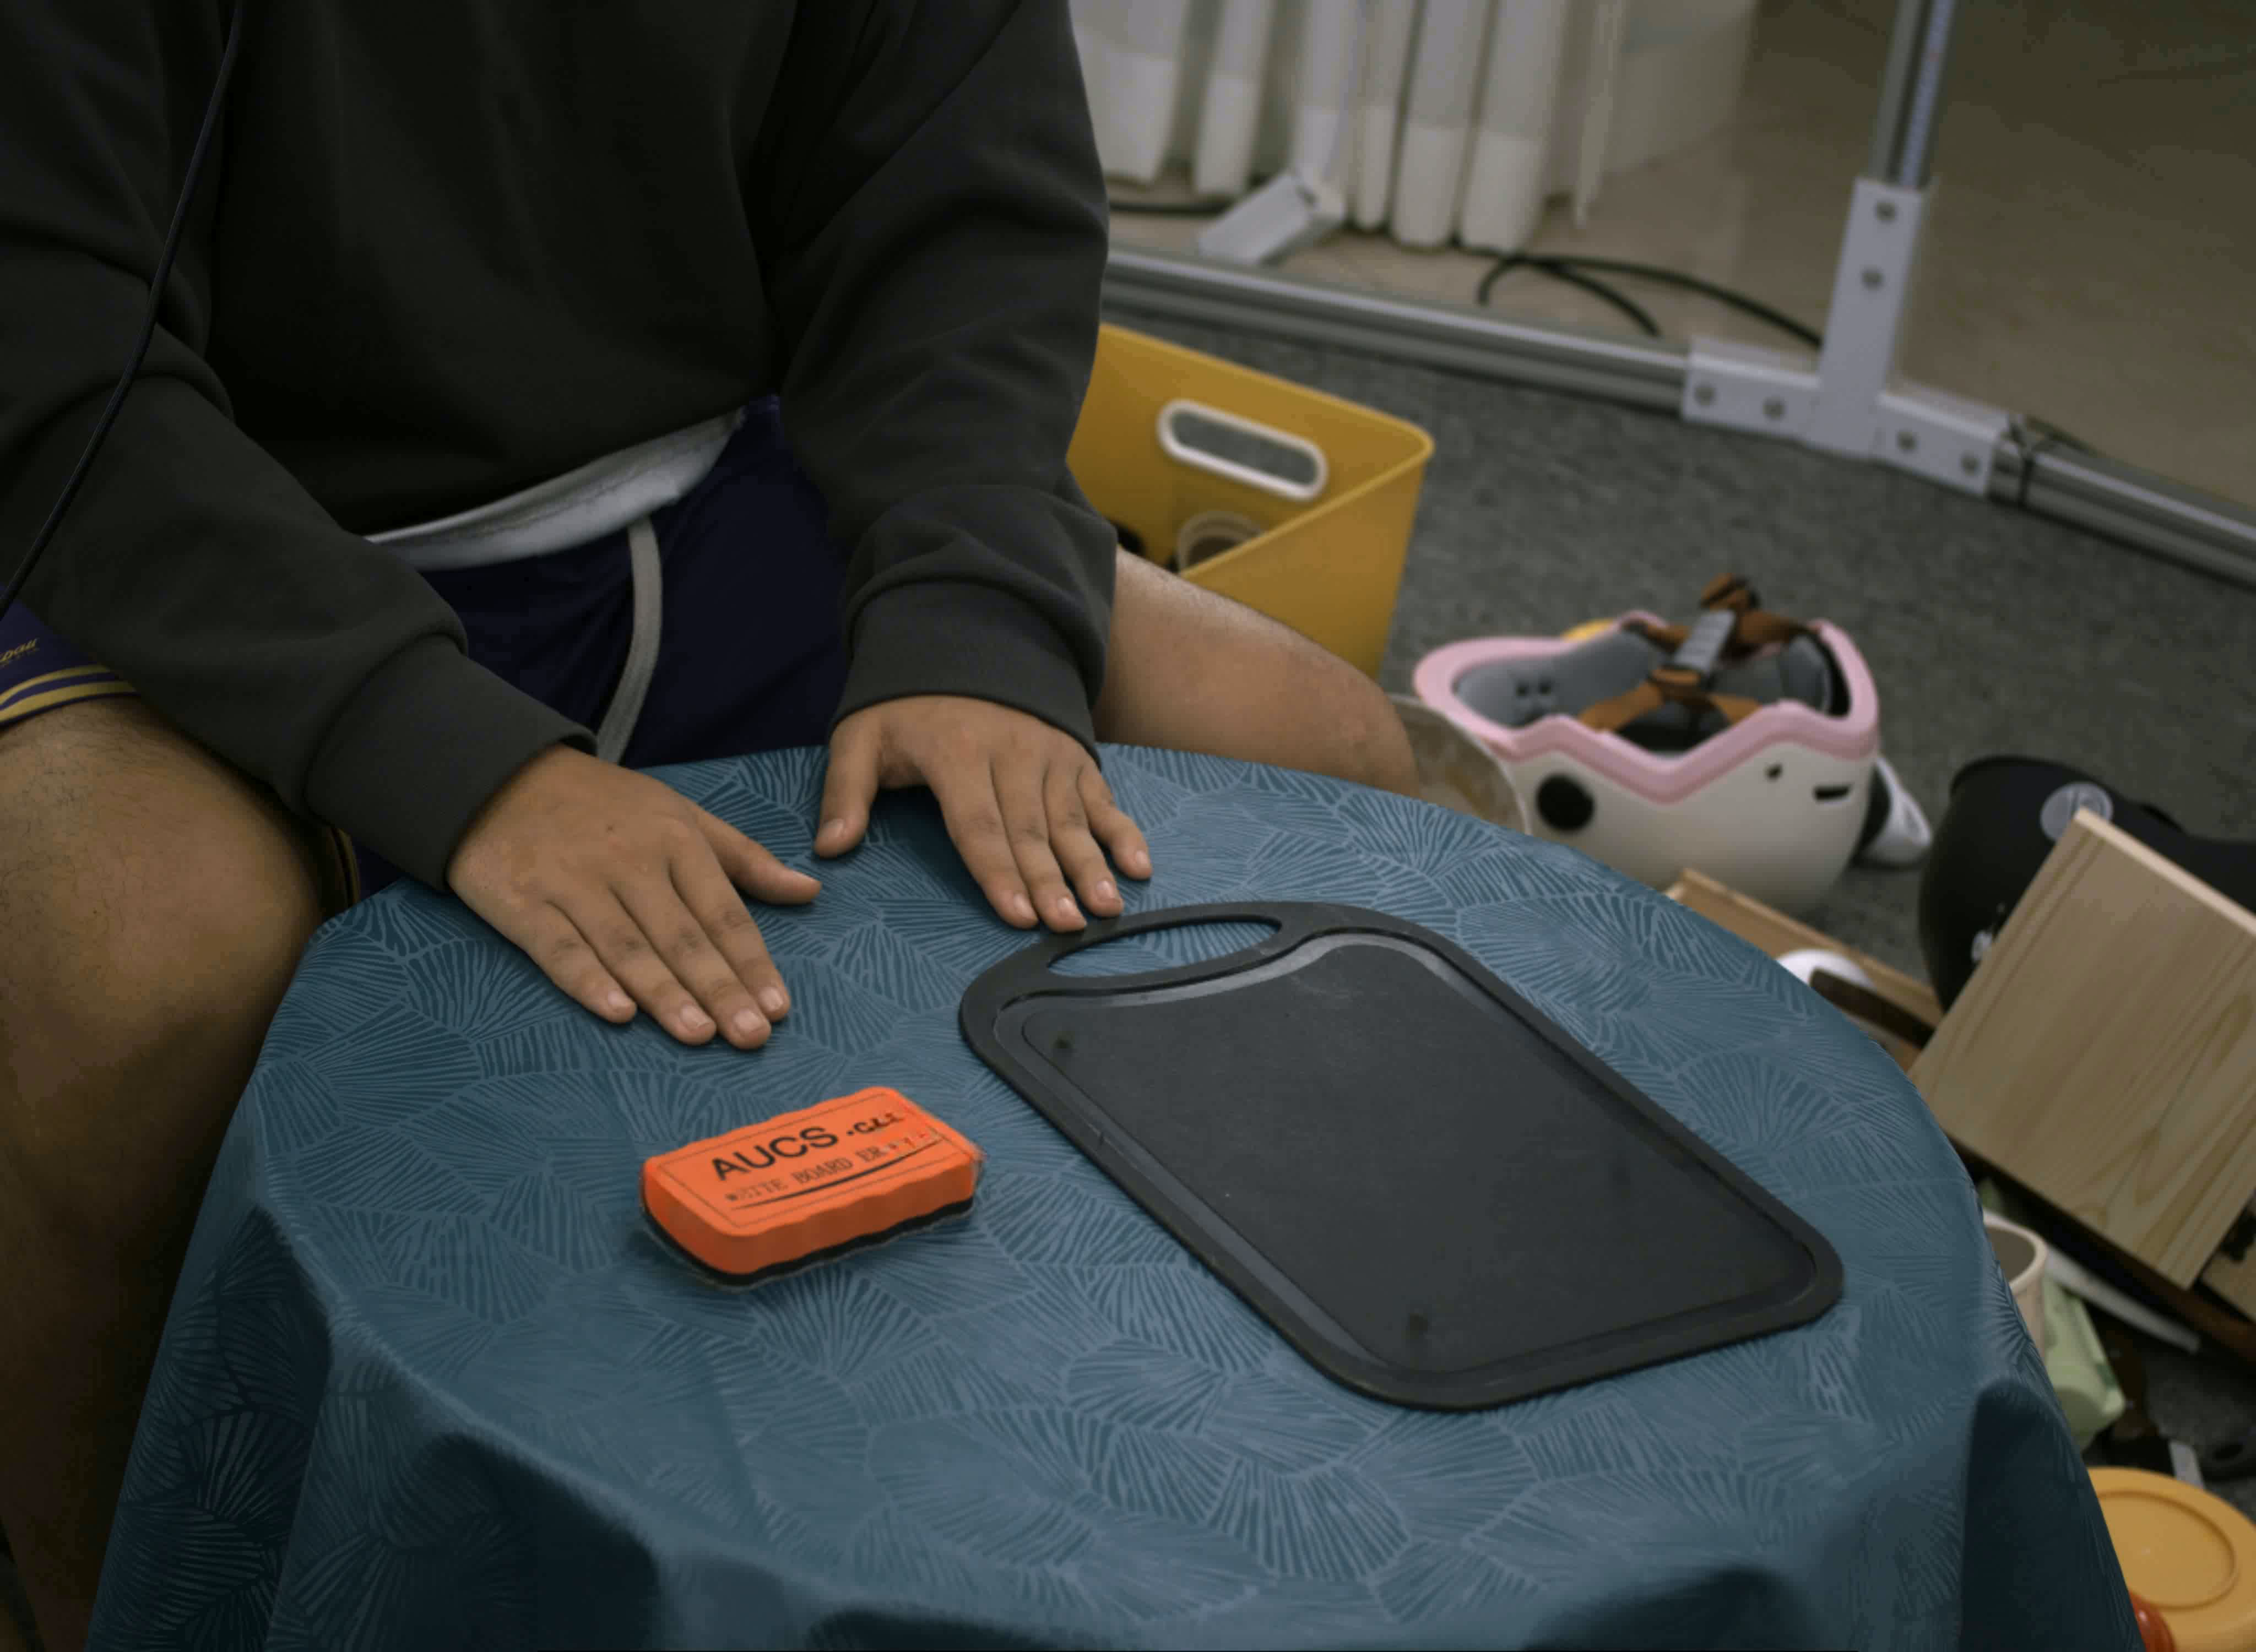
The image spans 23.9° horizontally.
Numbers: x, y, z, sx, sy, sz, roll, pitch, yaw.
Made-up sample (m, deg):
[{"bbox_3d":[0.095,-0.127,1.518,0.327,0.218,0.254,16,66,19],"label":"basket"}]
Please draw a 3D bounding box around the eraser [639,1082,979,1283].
[{"bbox_3d":[-0.105,0.117,1.758,0.107,0.023,0.059,-15,35,-38],"label":"eraser"}]

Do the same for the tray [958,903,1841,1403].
[{"bbox_3d":[0.085,0.104,1.852,0.210,0.010,0.328,-10,31,-30],"label":"tray"}]
